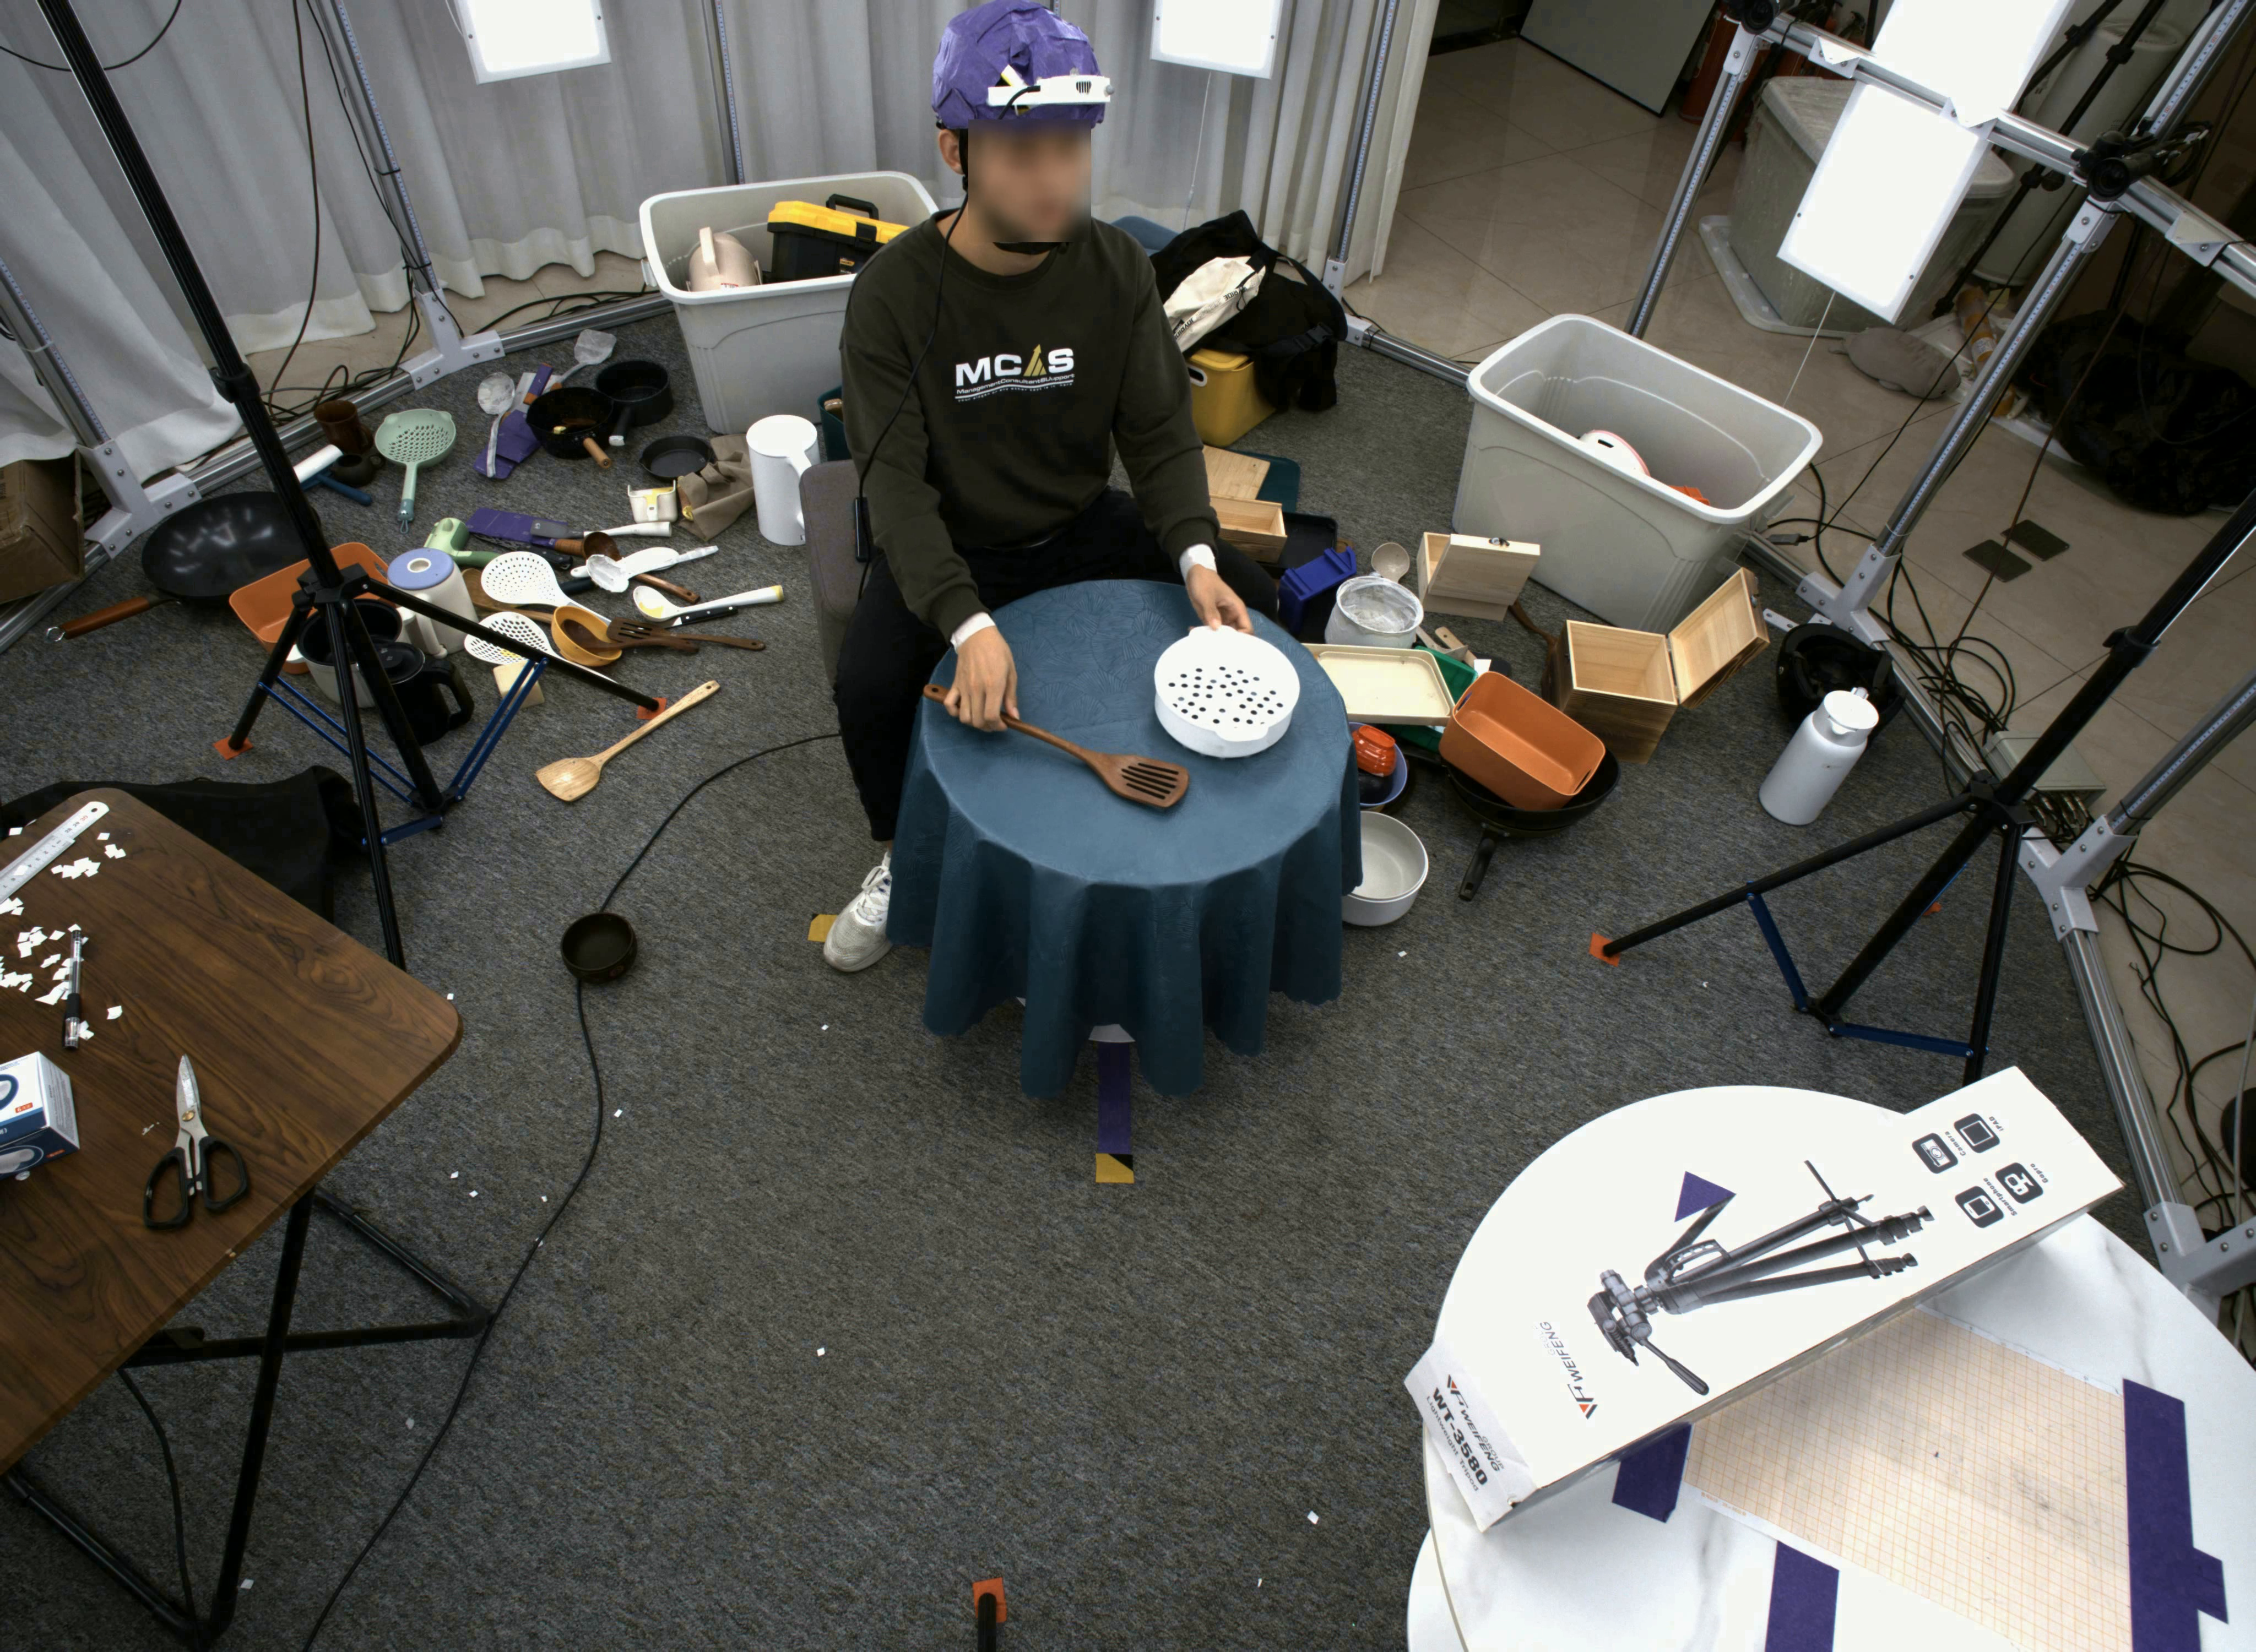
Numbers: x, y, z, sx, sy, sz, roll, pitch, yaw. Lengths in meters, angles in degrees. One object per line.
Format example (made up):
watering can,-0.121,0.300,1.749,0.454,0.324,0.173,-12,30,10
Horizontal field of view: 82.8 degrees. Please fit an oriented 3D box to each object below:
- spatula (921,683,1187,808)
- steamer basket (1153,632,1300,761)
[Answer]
spatula,-0.106,-0.114,1.732,0.387,0.023,0.087,23,48,9
steamer basket,0.135,-0.177,1.790,0.201,0.067,0.236,-3,46,-10
